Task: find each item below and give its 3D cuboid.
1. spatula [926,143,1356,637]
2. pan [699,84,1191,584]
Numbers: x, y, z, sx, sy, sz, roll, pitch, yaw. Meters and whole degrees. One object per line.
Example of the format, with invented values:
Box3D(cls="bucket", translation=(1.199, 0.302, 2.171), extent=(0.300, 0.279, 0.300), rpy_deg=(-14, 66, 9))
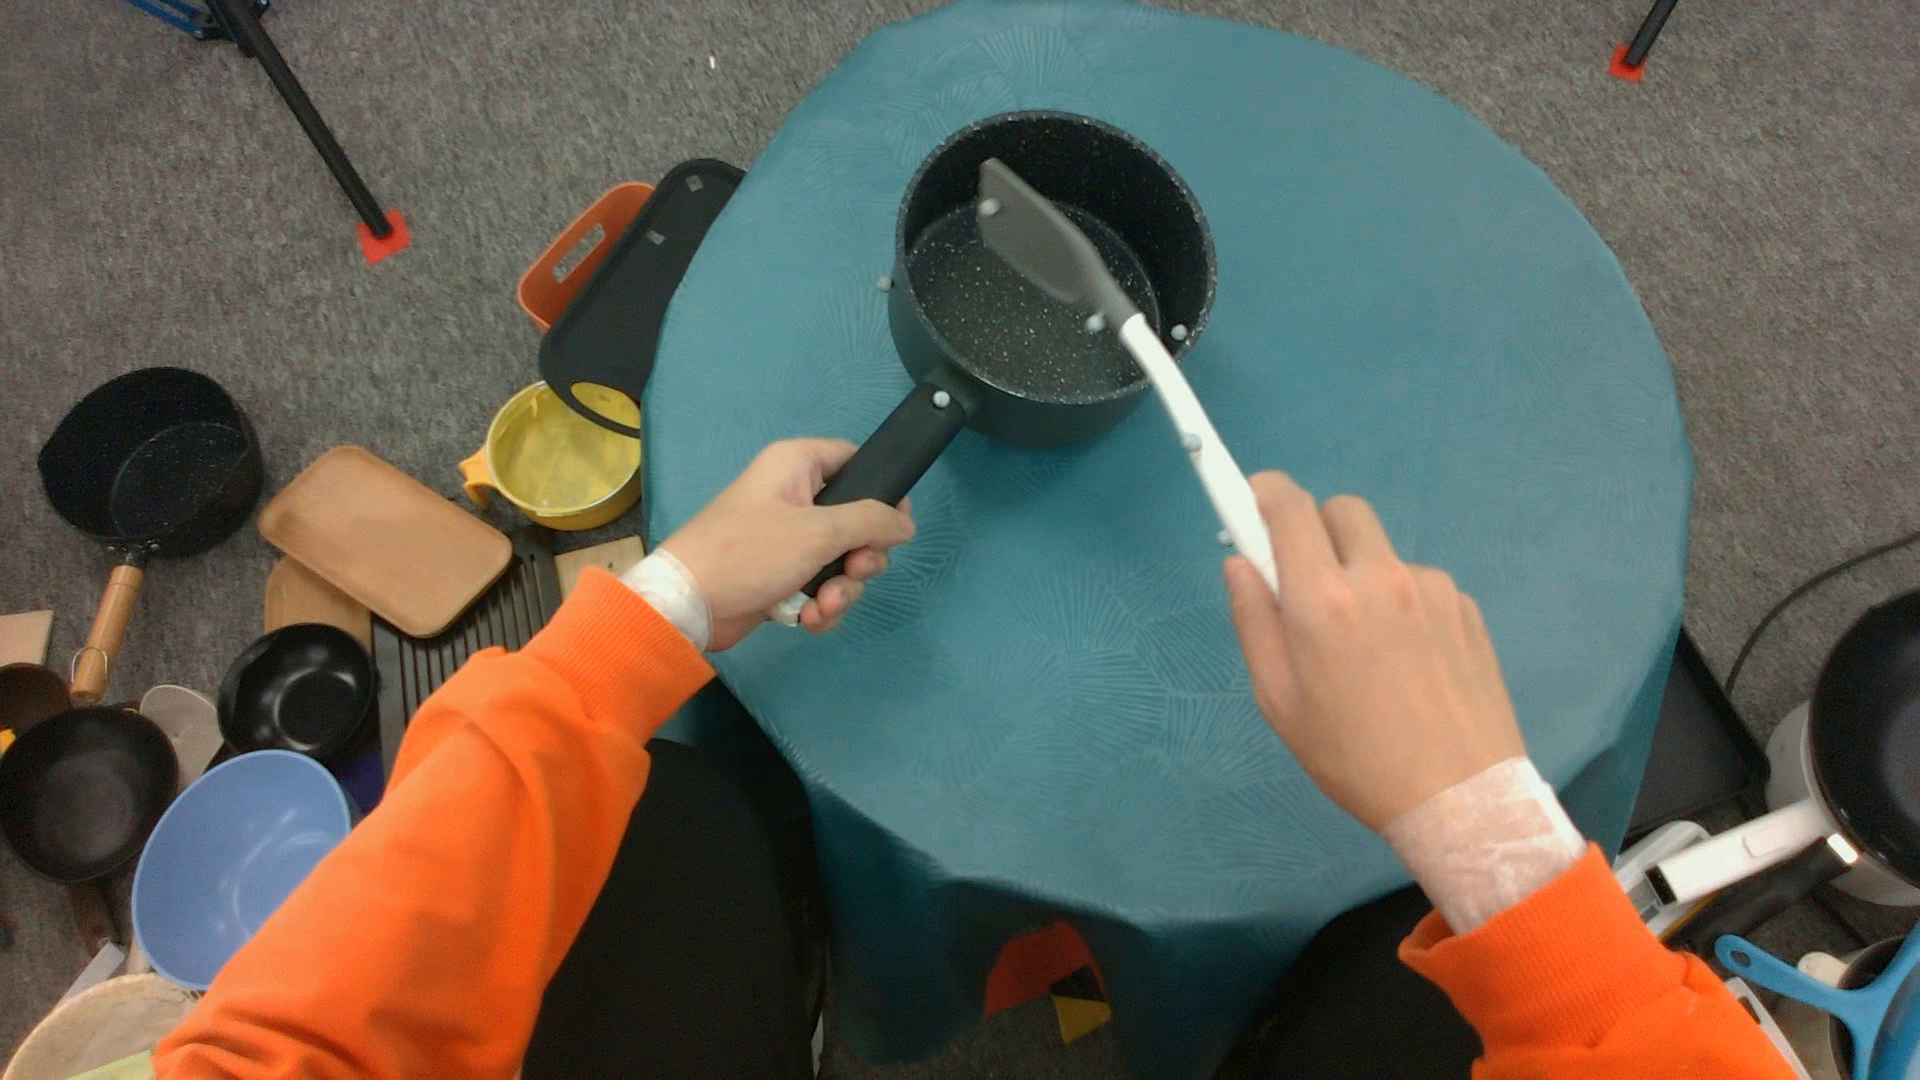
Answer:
Box3D(cls="spatula", translation=(0.069, -0.075, 0.611), extent=(0.032, 0.058, 0.288), rpy_deg=(-30, 64, -15))
Box3D(cls="pan", translation=(-0.015, -0.094, 0.713), extent=(0.172, 0.086, 0.330), rpy_deg=(38, 67, 4))
